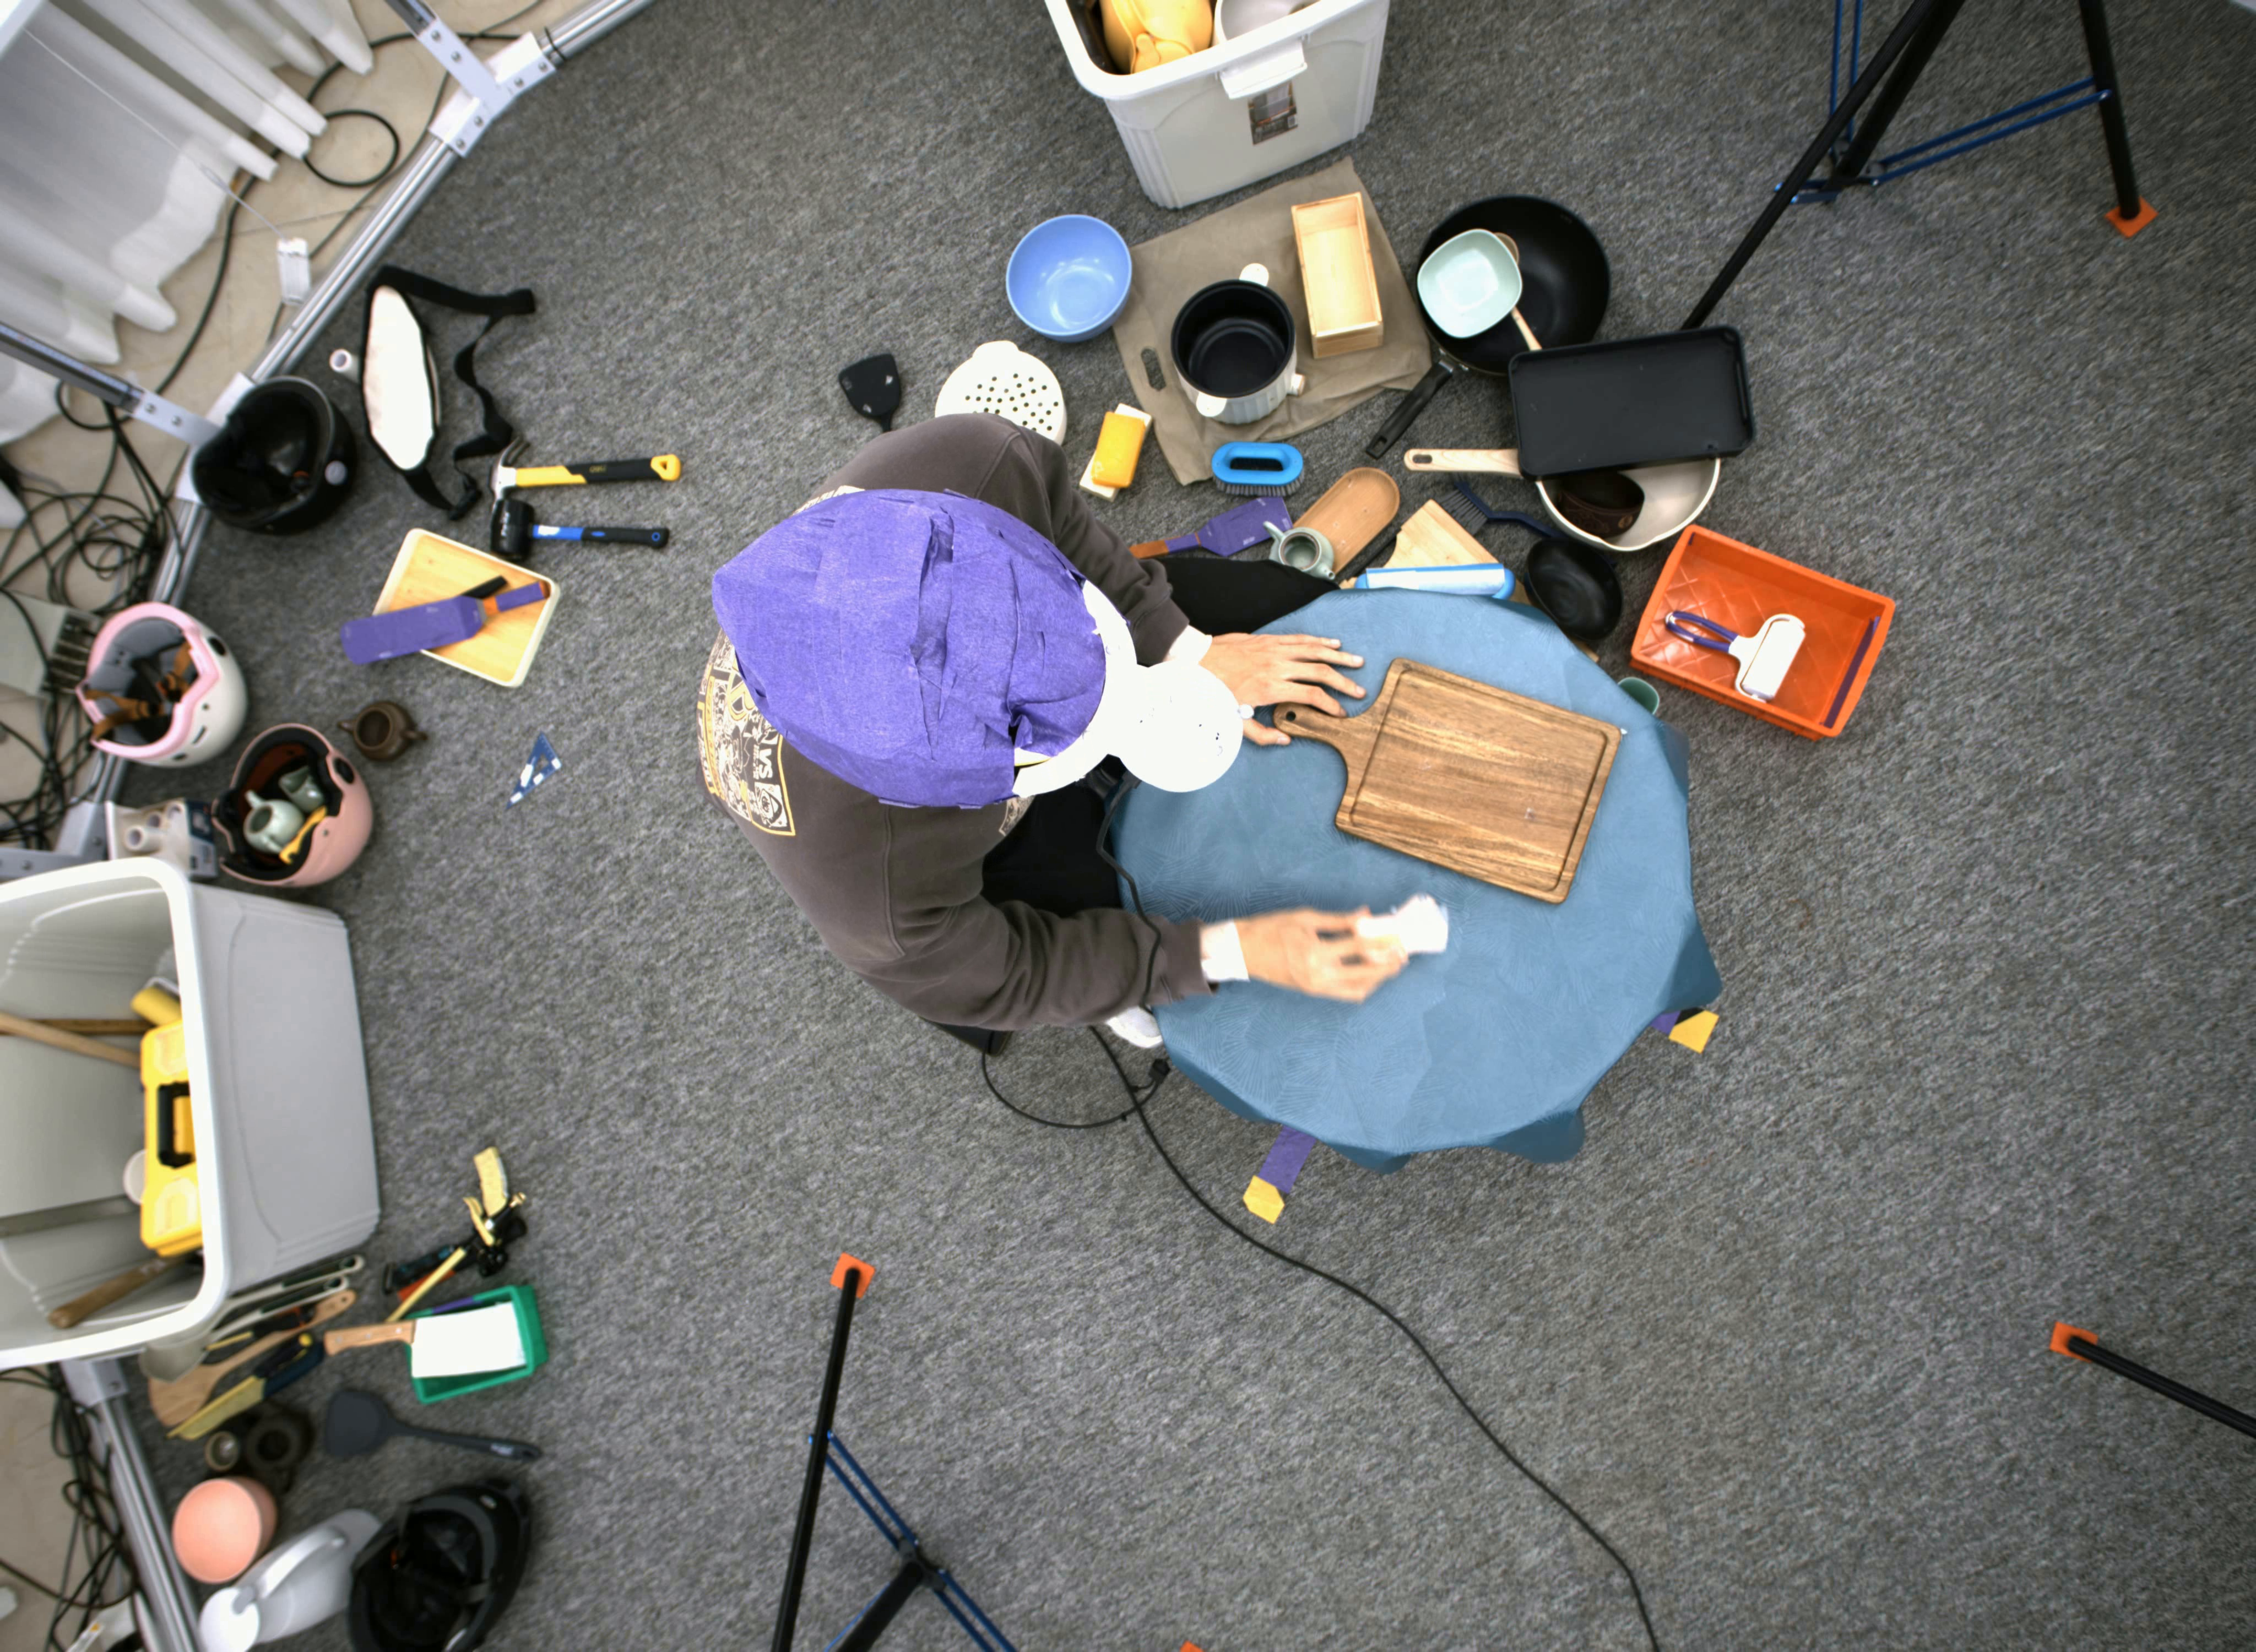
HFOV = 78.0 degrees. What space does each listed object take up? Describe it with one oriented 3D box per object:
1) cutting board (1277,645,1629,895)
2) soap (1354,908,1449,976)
[{"bbox_3d":[0.325,-0.079,1.443,0.352,0.023,0.201,20,91,11],"label":"cutting board"},{"bbox_3d":[0.276,0.116,1.395,0.095,0.030,0.050,-20,86,13],"label":"soap"}]
